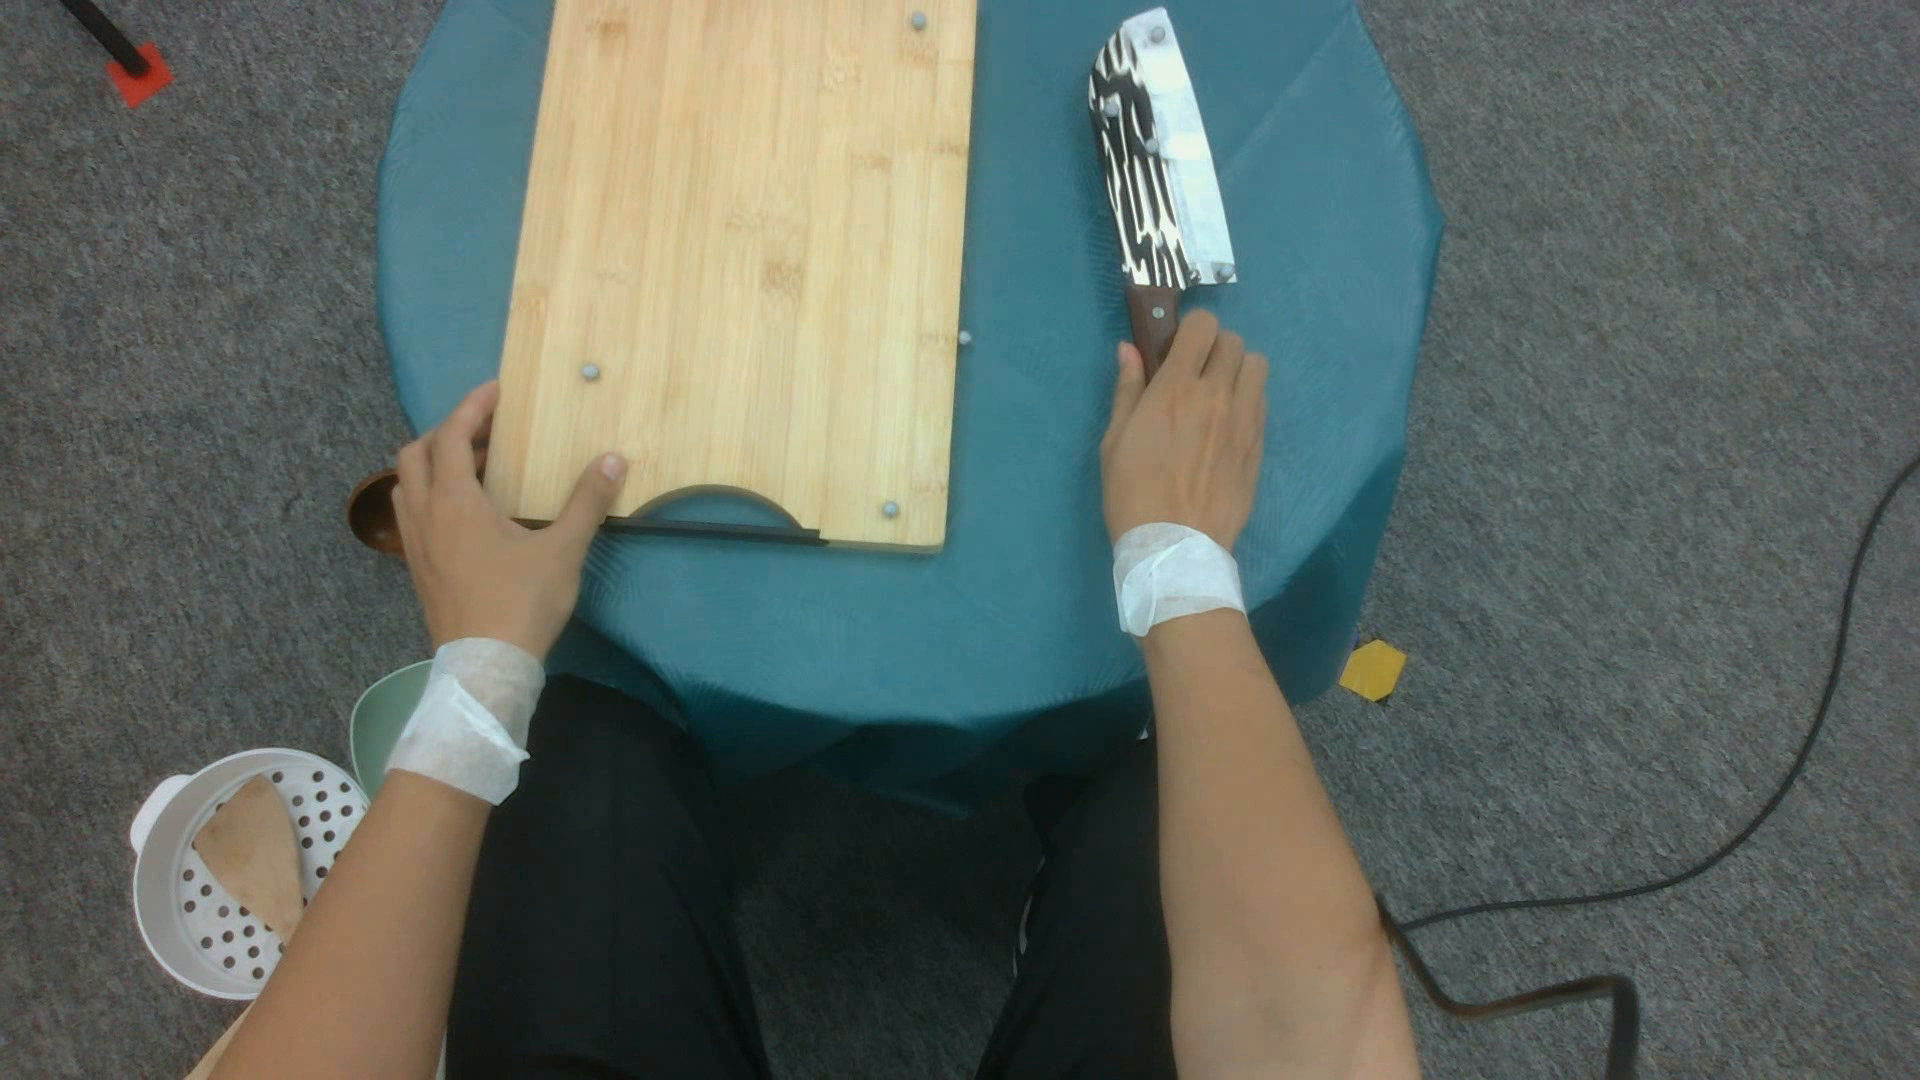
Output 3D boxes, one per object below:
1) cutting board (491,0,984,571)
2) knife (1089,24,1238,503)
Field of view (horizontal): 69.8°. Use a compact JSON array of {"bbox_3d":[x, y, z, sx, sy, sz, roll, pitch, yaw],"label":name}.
[{"bbox_3d":[-0.117,-0.158,0.781,0.251,0.023,0.349,3,75,-2],"label":"cutting board"},{"bbox_3d":[0.121,-0.166,0.784,0.068,0.024,0.300,-6,74,-9],"label":"knife"}]
